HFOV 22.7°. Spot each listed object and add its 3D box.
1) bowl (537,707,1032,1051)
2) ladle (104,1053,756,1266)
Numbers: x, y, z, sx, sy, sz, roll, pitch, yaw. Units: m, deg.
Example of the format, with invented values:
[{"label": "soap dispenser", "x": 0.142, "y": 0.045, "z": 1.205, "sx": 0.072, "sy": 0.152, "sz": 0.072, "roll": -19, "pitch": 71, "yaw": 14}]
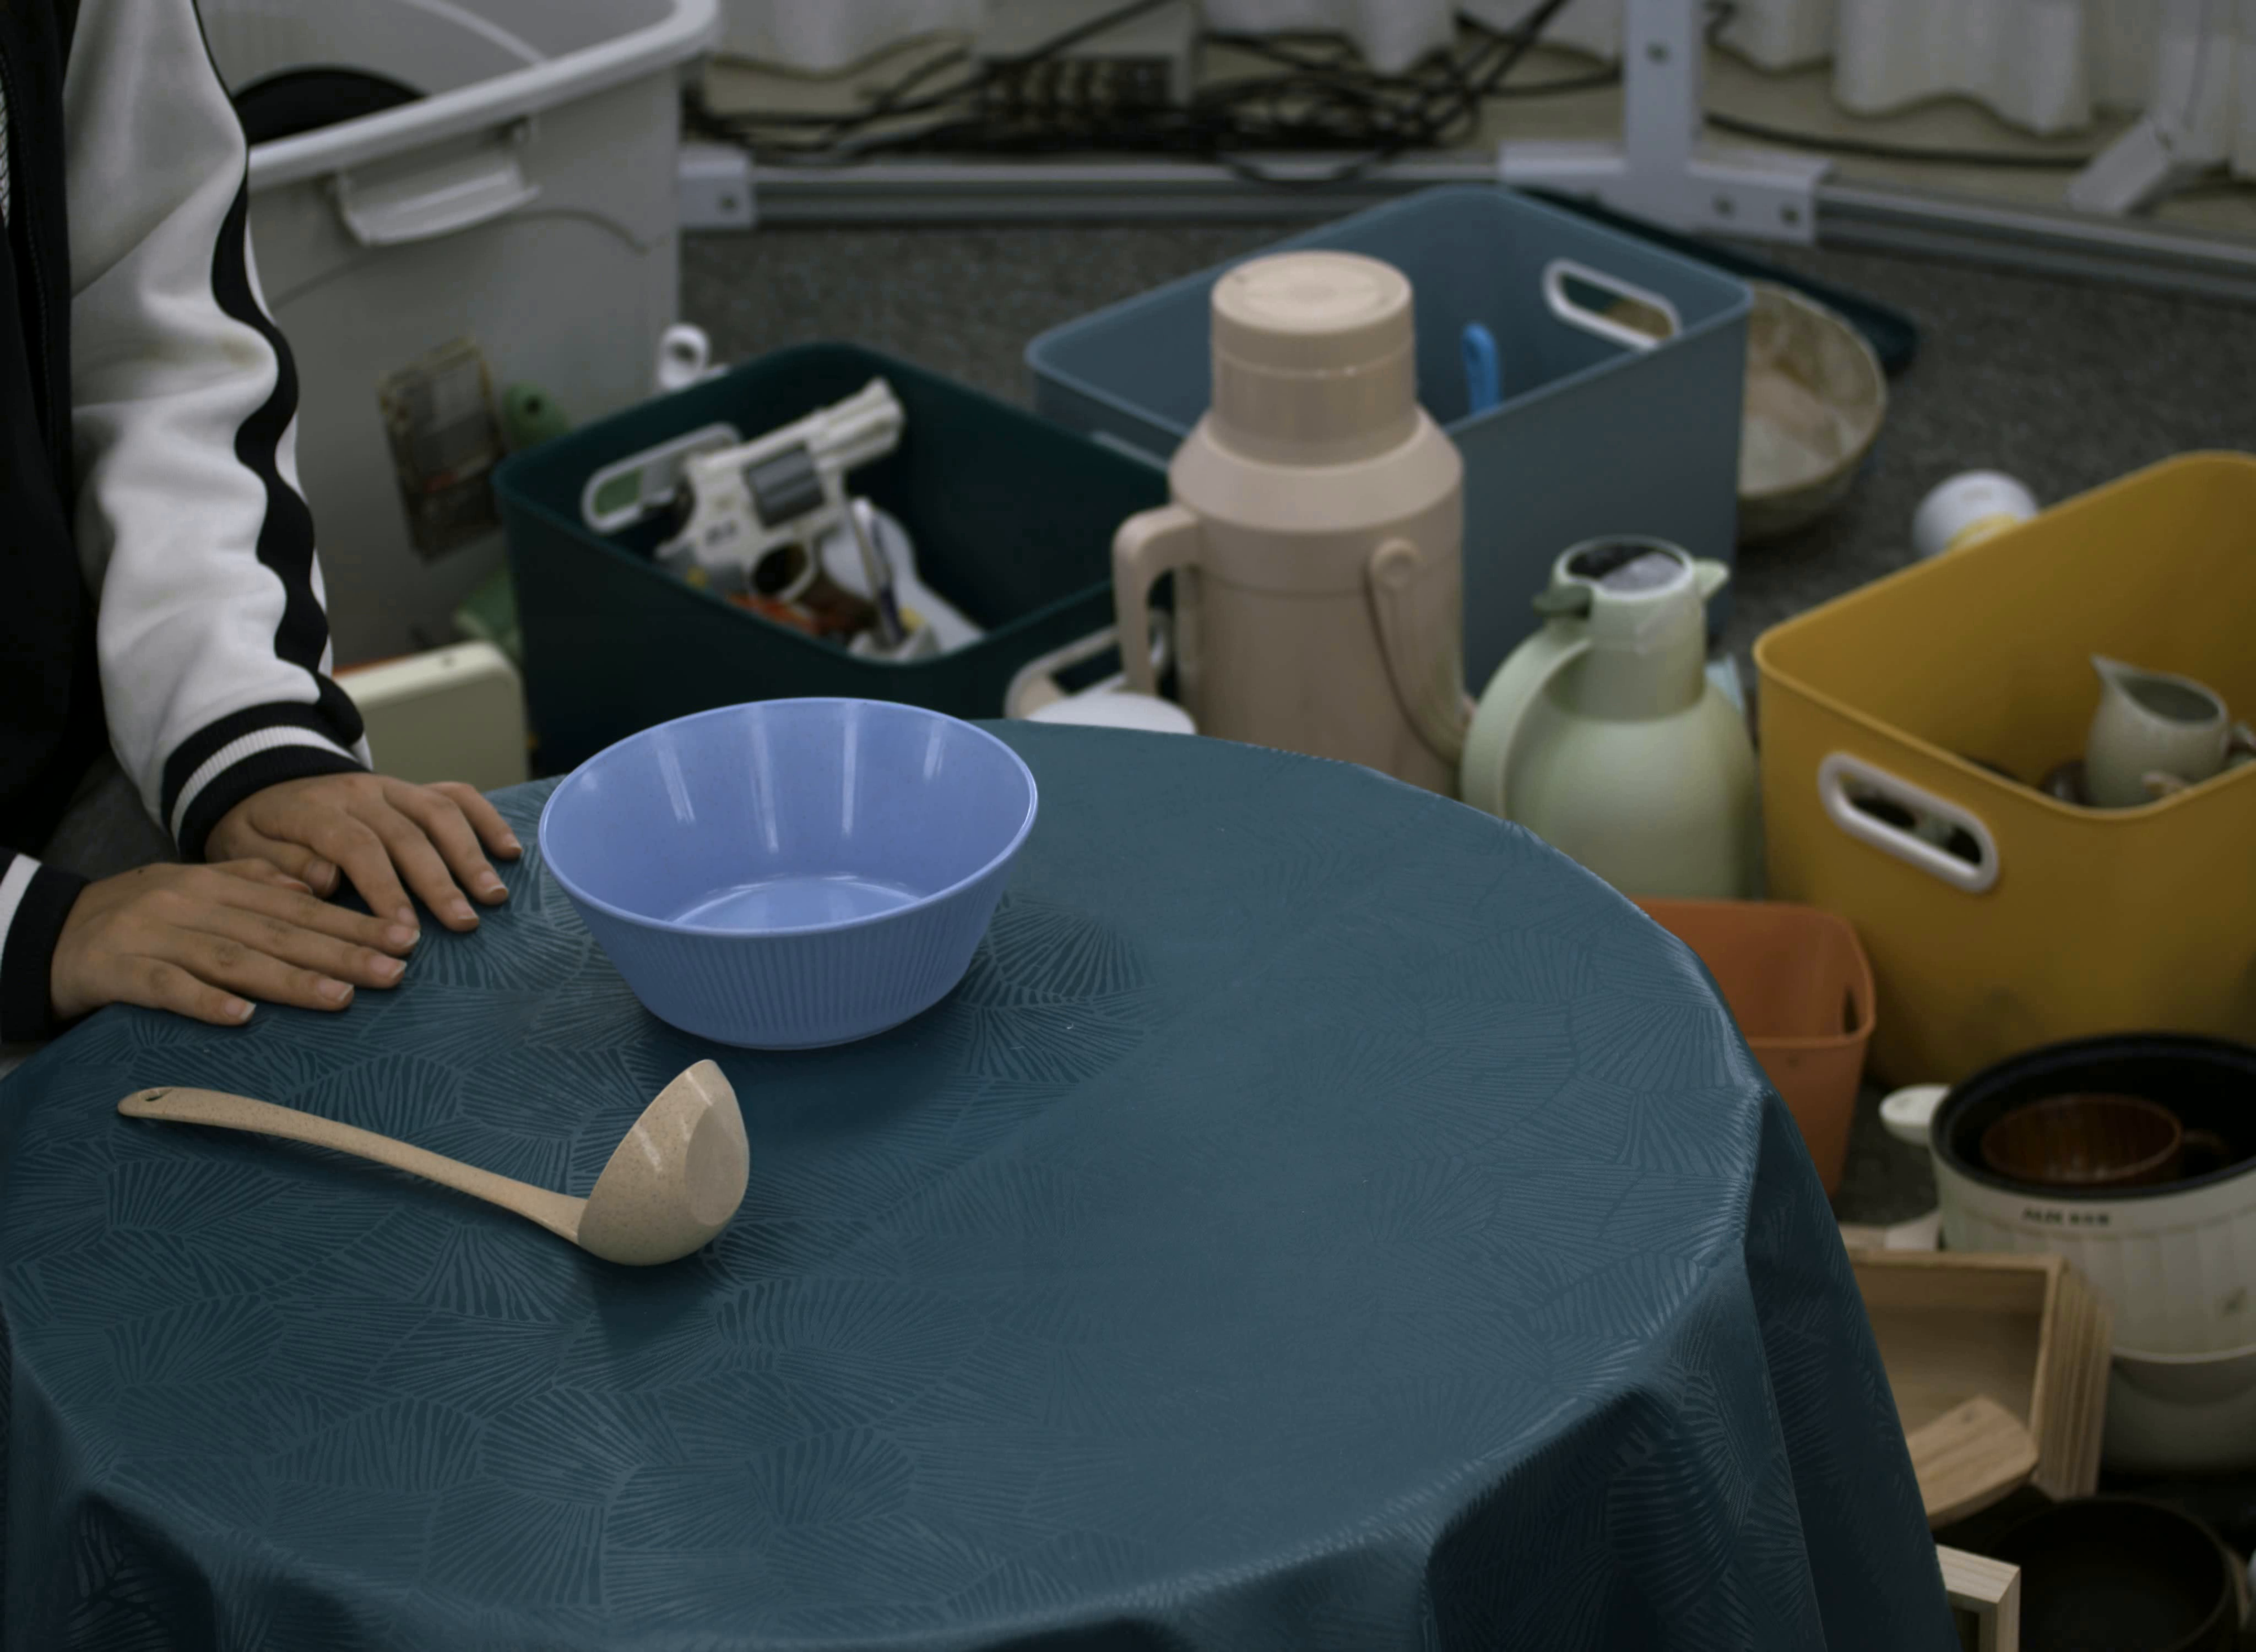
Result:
[{"label": "bowl", "x": -0.119, "y": 0.024, "z": 1.986, "sx": 0.175, "sy": 0.069, "sz": 0.178, "roll": -2, "pitch": 26, "yaw": 1}, {"label": "ladle", "x": -0.241, "y": 0.091, "z": 1.866, "sx": 0.253, "sy": 0.072, "sz": 0.073, "roll": 11, "pitch": 30, "yaw": 25}]
